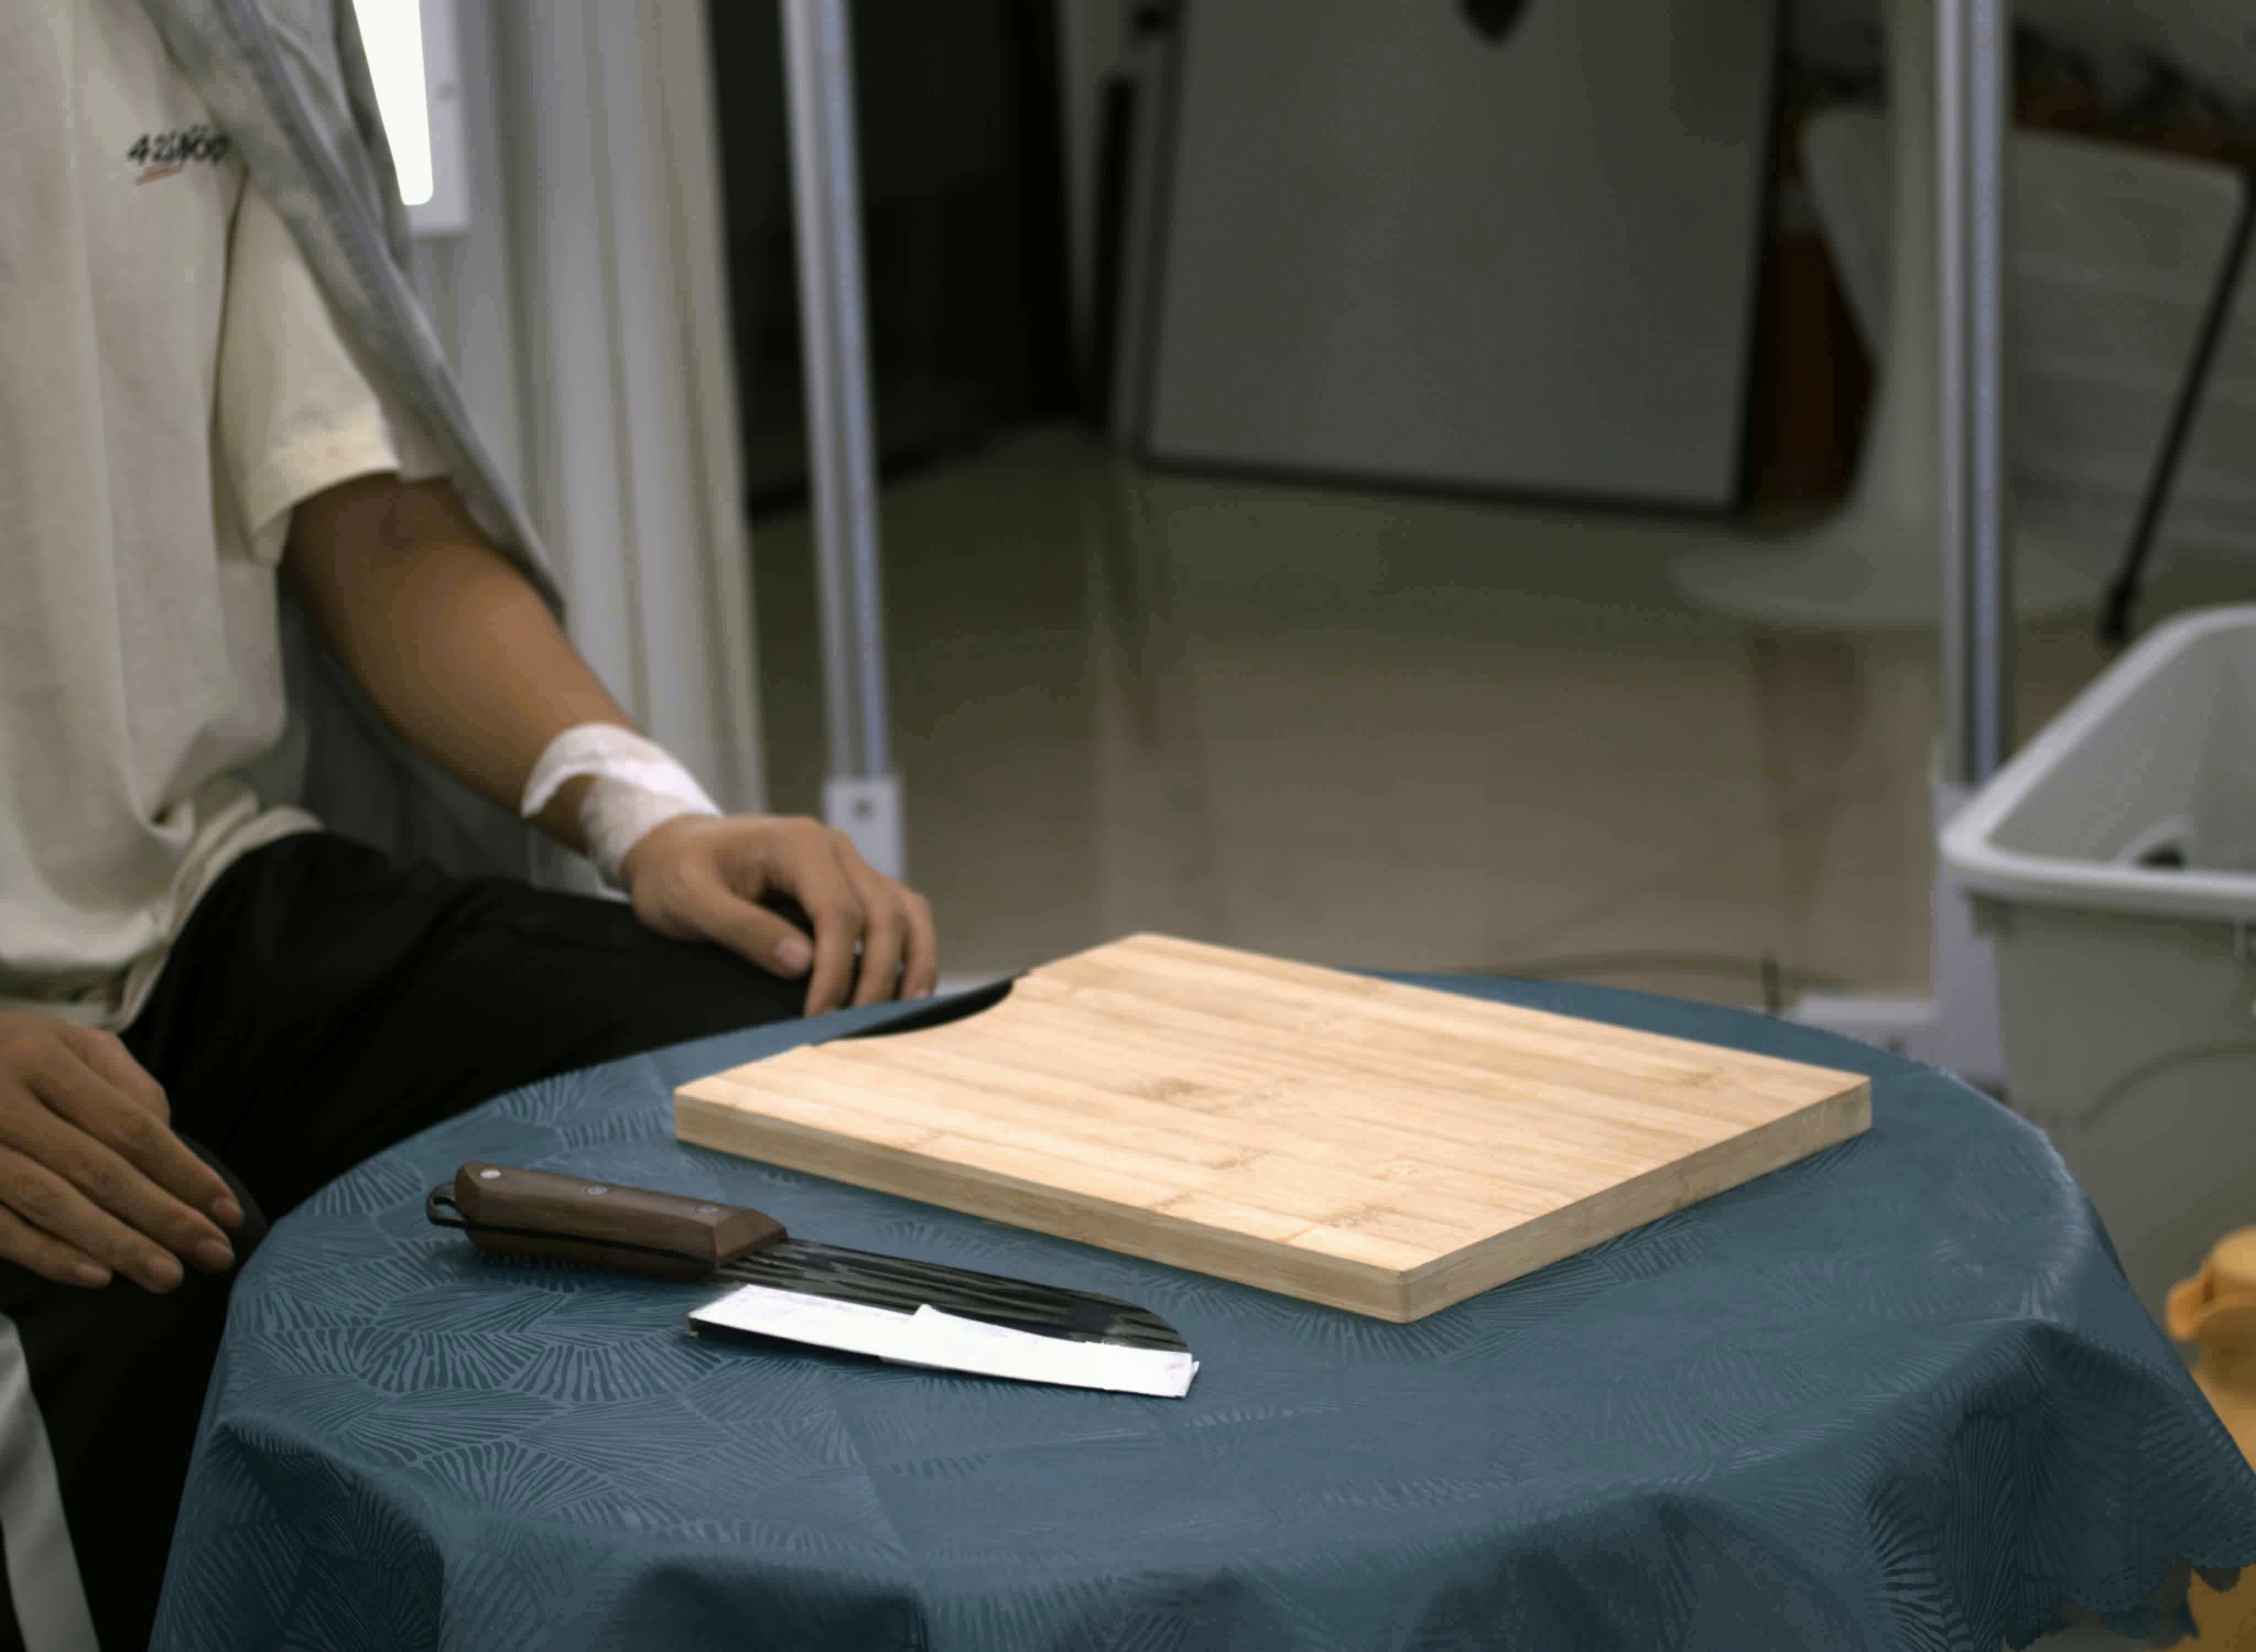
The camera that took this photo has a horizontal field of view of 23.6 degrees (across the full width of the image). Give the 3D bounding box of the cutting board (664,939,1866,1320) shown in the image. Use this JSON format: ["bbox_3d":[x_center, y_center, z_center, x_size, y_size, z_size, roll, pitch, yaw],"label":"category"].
[{"bbox_3d":[0.042,0.097,1.828,0.352,0.024,0.245,9,19,43],"label":"cutting board"}]

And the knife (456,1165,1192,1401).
[{"bbox_3d":[-0.102,0.144,1.673,0.301,0.024,0.067,8,20,31],"label":"knife"}]
